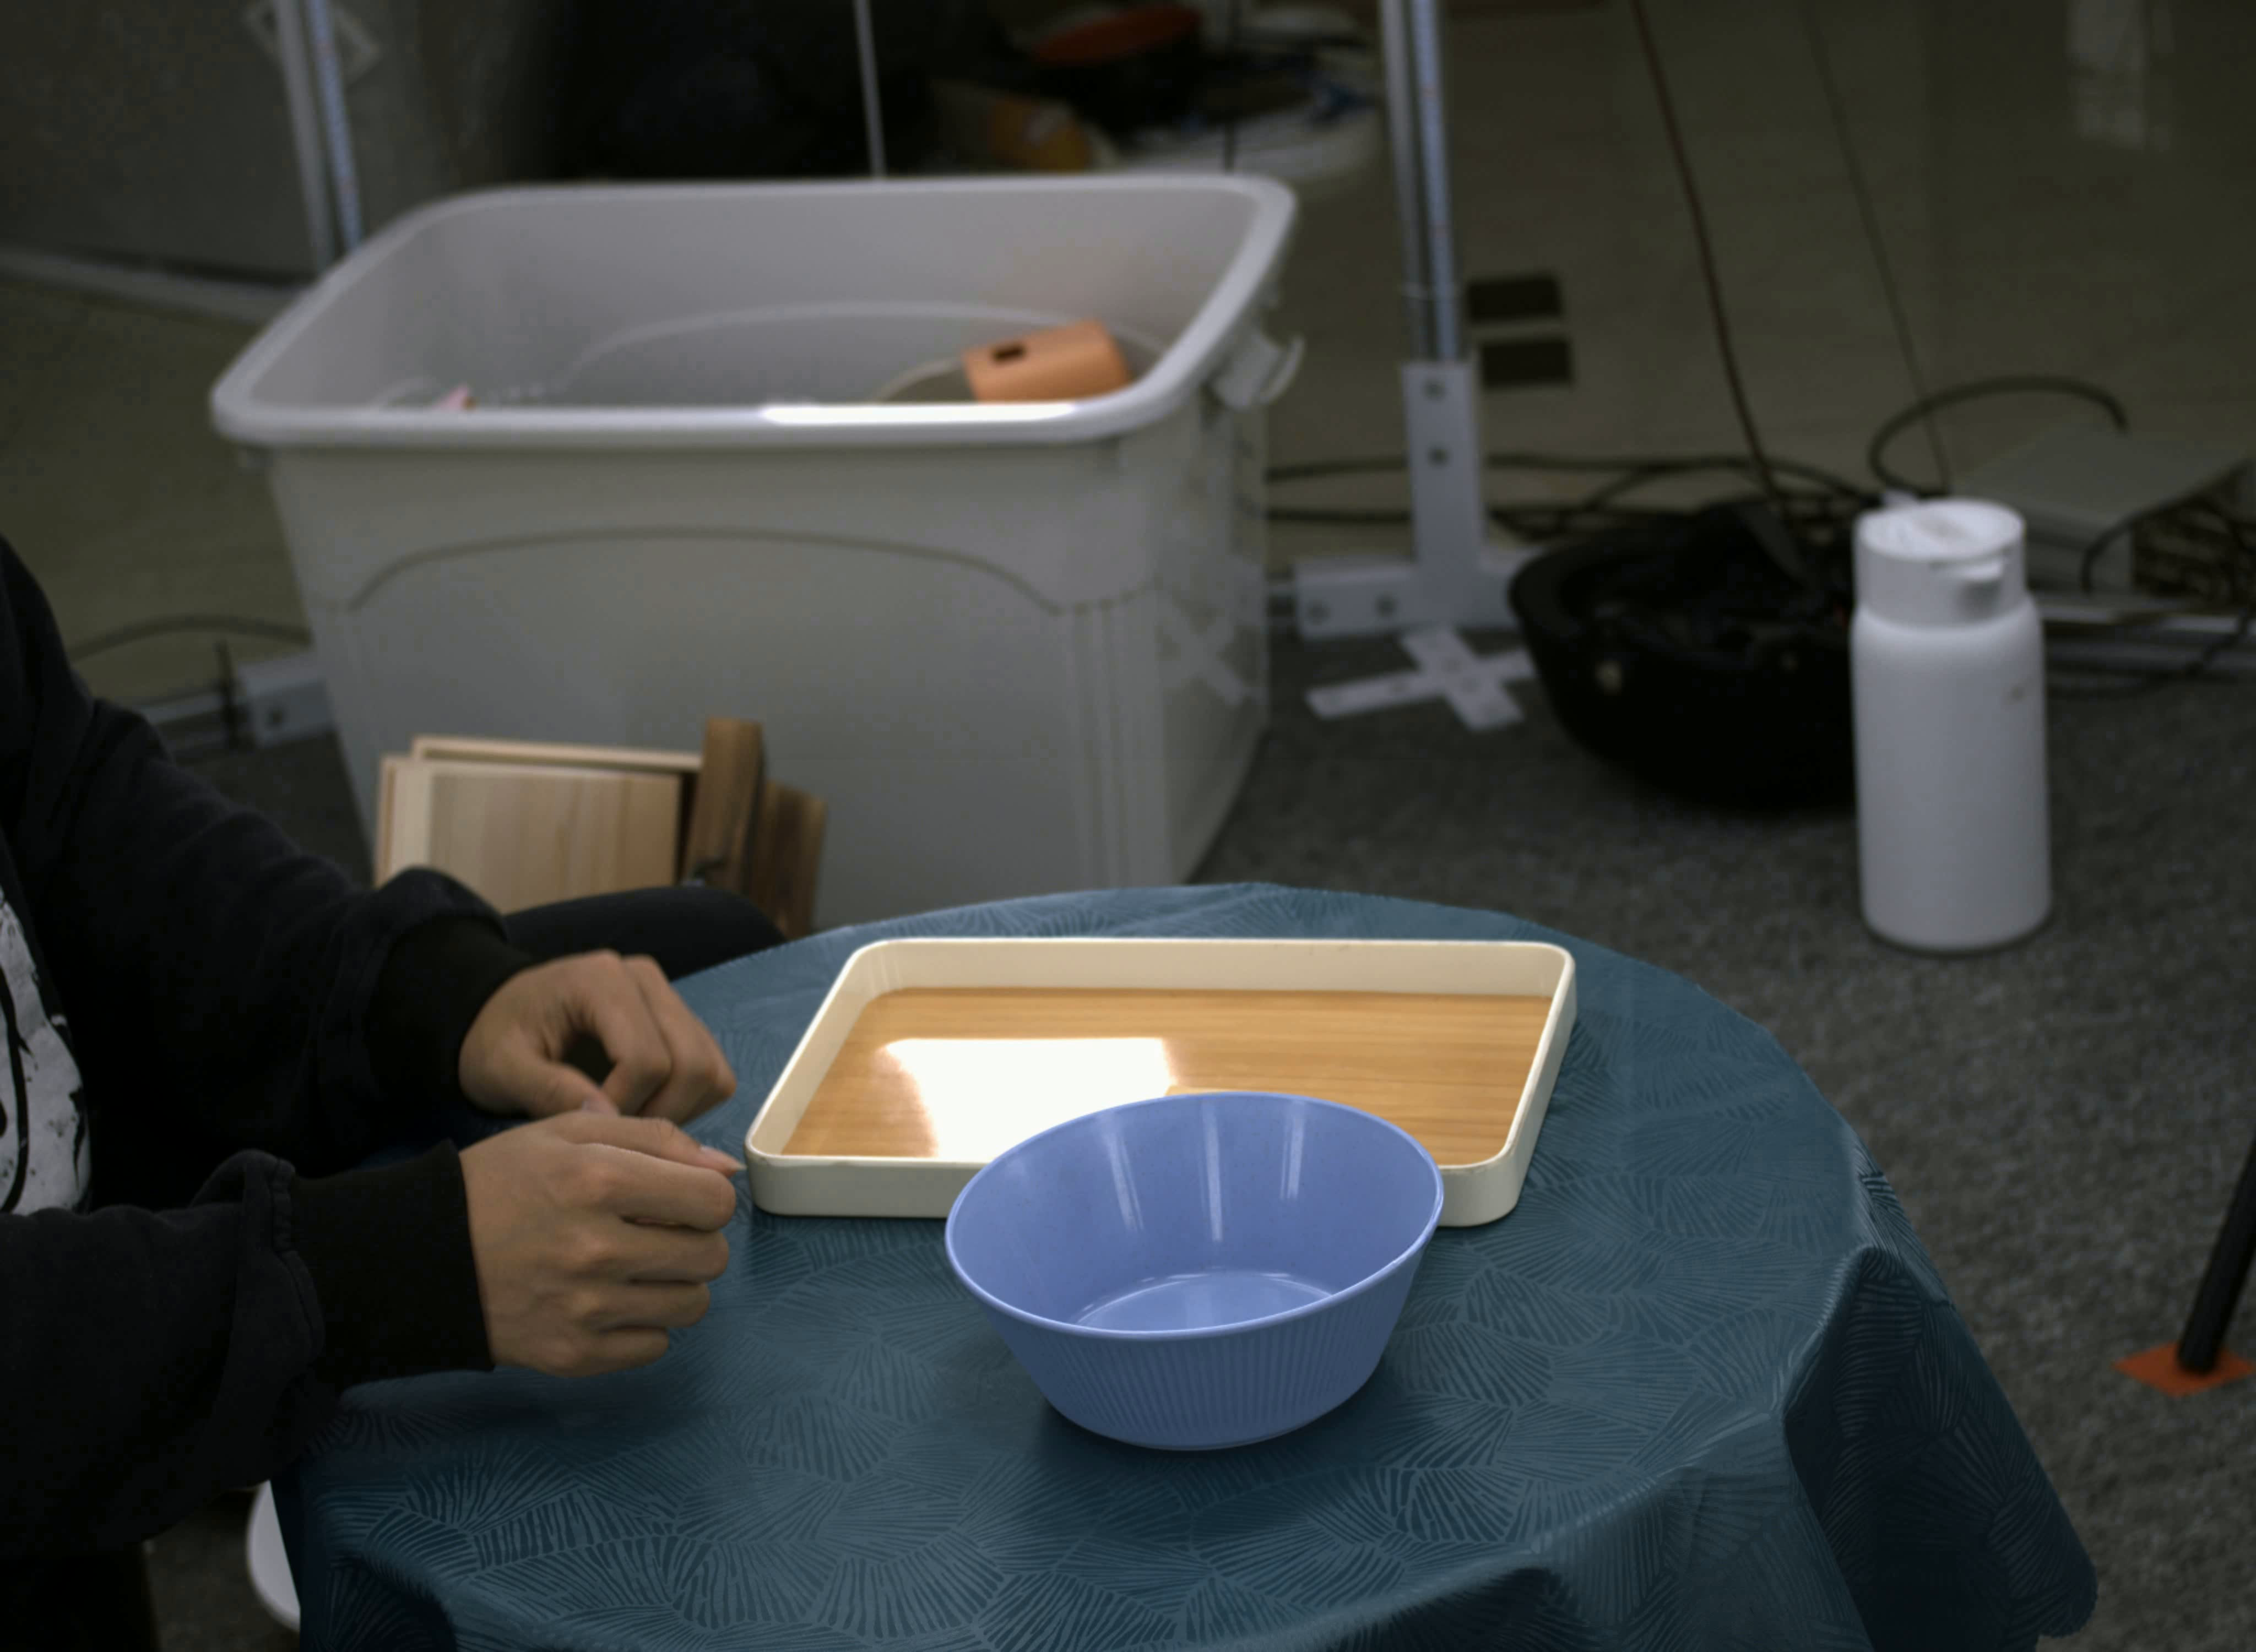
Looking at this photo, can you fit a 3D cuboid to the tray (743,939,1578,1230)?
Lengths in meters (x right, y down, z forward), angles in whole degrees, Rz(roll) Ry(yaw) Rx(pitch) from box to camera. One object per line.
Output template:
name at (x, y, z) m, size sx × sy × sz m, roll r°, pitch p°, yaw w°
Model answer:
tray at (0.016, 0.099, 2.205) m, size 0.299 × 0.028 × 0.189 m, roll 0°, pitch 26°, yaw 14°

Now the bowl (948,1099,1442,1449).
bowl at (0.026, 0.164, 2.007) m, size 0.176 × 0.071 × 0.173 m, roll -5°, pitch 24°, yaw 2°
